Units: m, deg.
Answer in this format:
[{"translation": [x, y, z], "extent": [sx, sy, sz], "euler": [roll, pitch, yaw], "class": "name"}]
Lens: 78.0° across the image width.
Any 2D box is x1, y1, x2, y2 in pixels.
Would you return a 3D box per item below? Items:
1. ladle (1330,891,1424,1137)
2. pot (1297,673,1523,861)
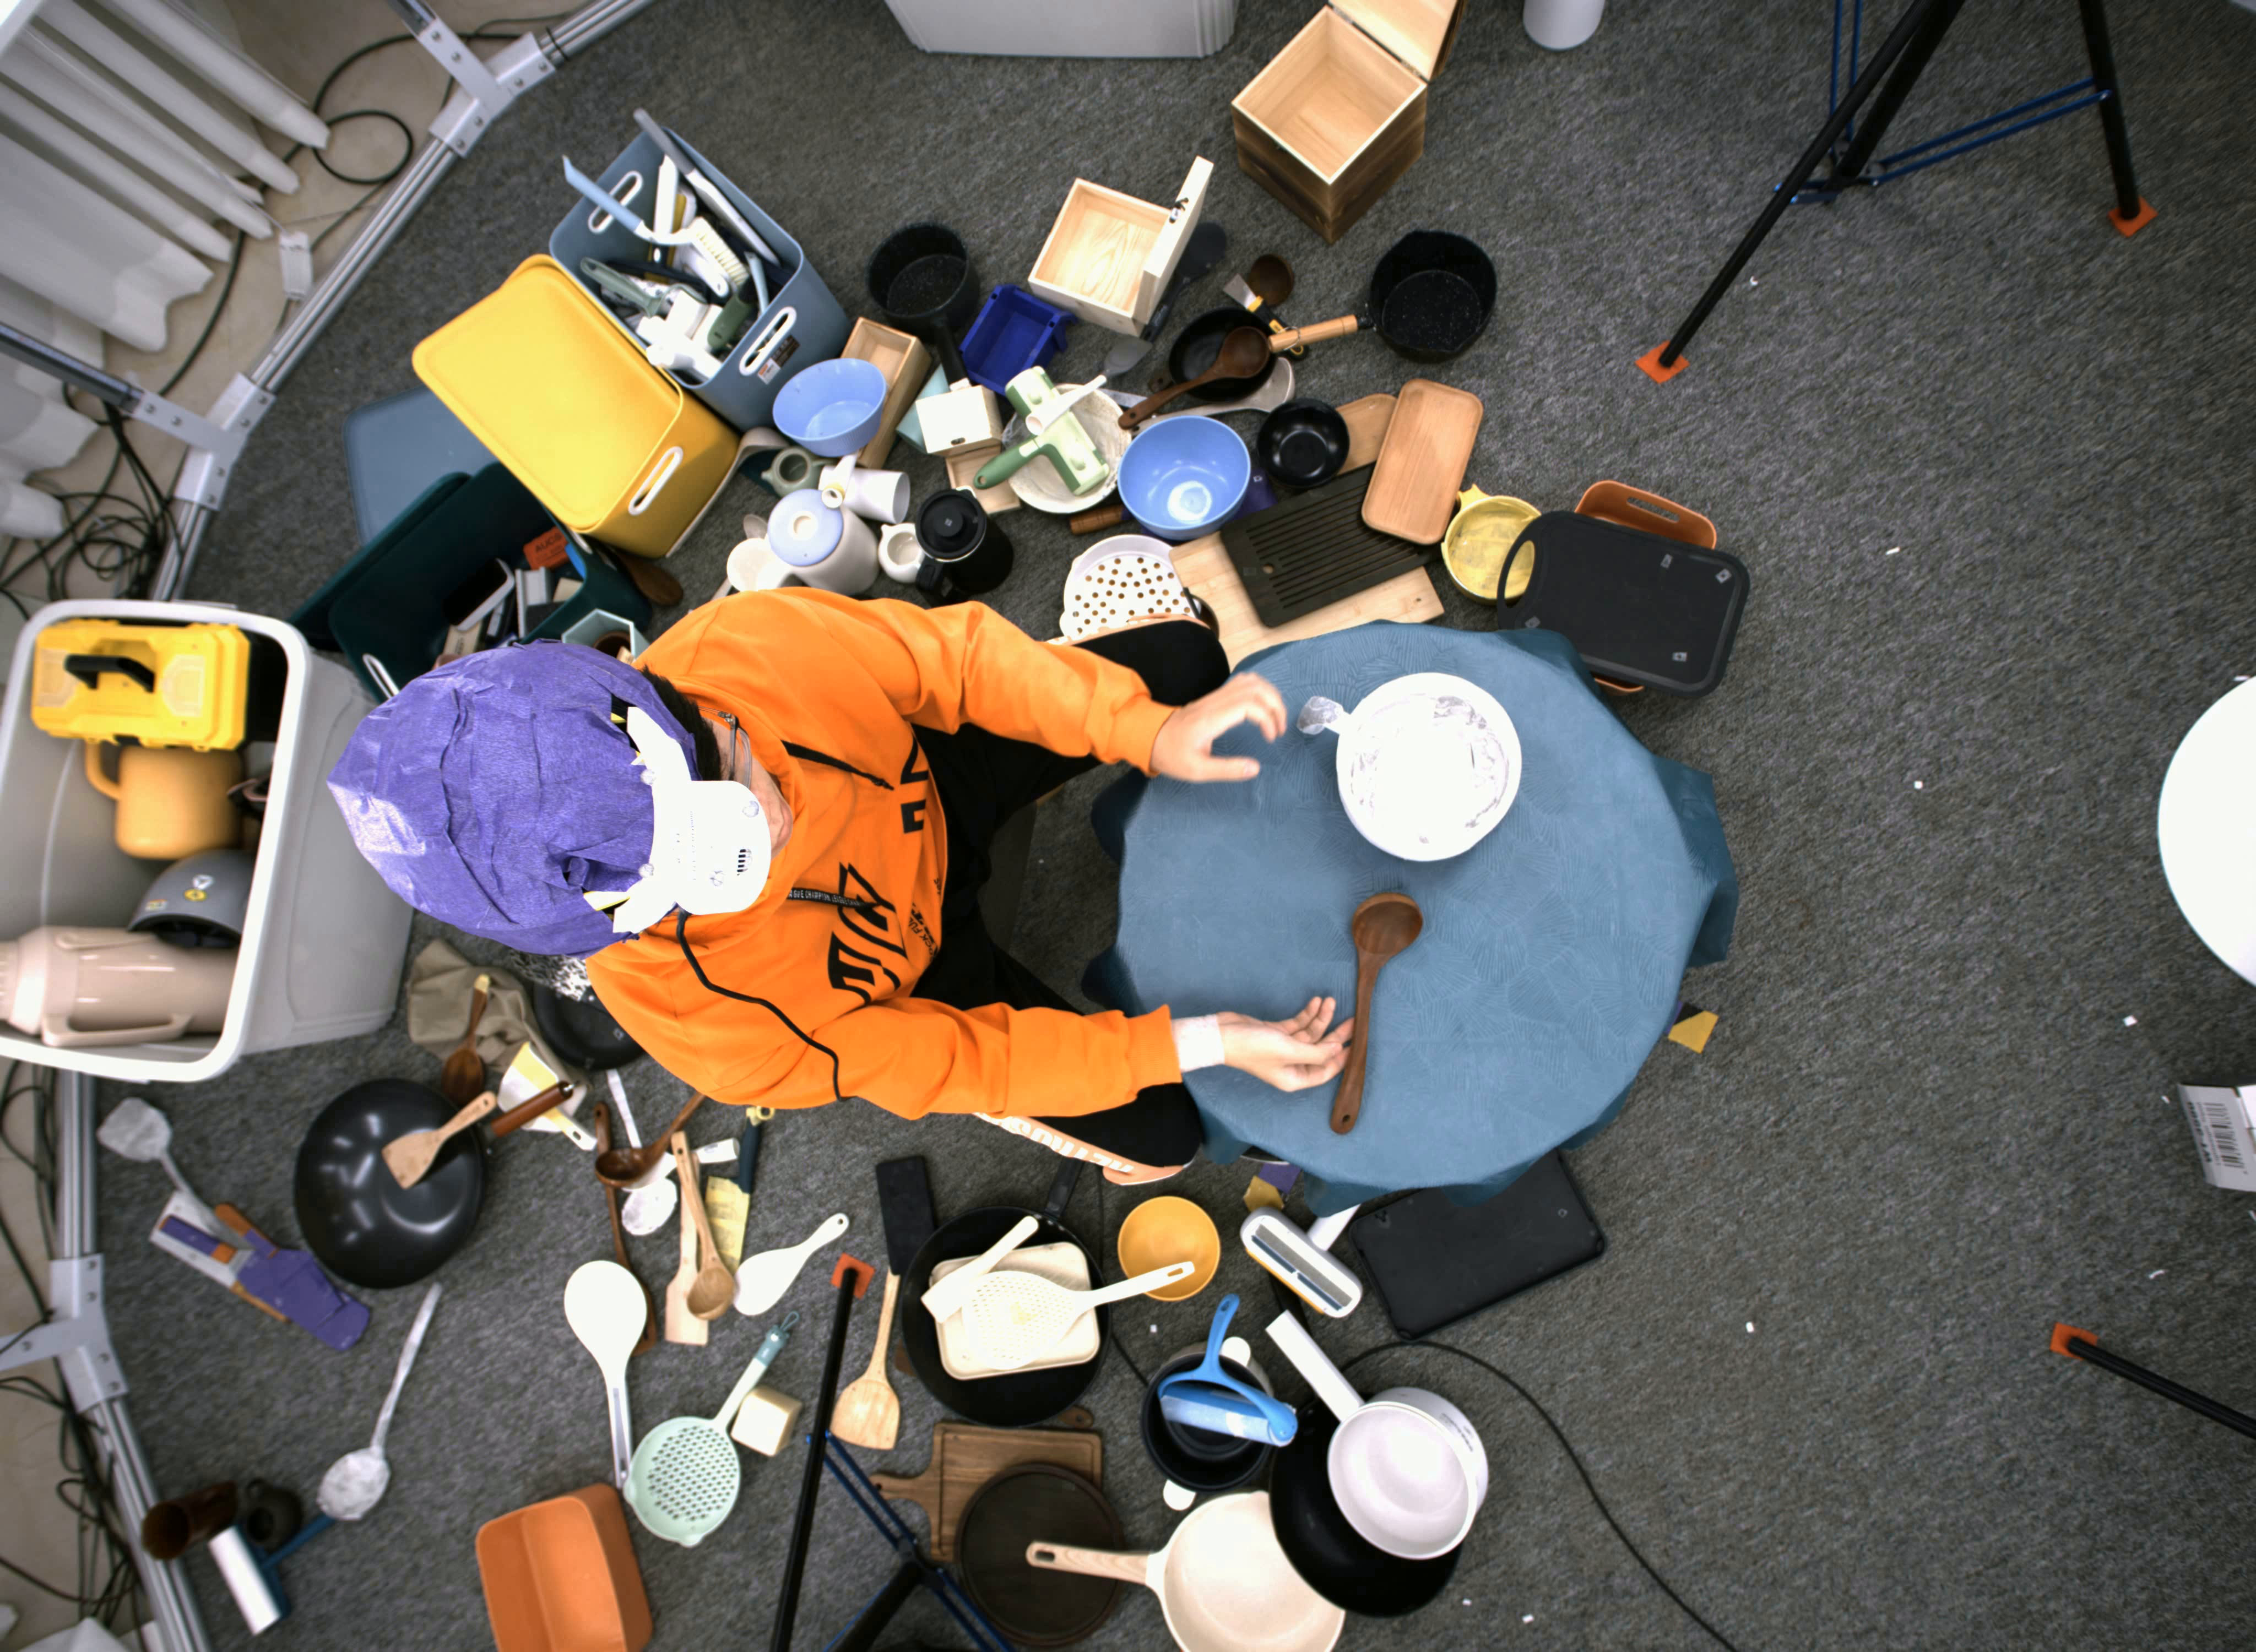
[{"translation": [0.248, 0.194, 1.425], "extent": [0.076, 0.065, 0.259], "euler": [11, 88, -4], "class": "ladle"}, {"translation": [0.277, -0.069, 1.397], "extent": [0.233, 0.137, 0.179], "euler": [28, 91, 11], "class": "pot"}]
